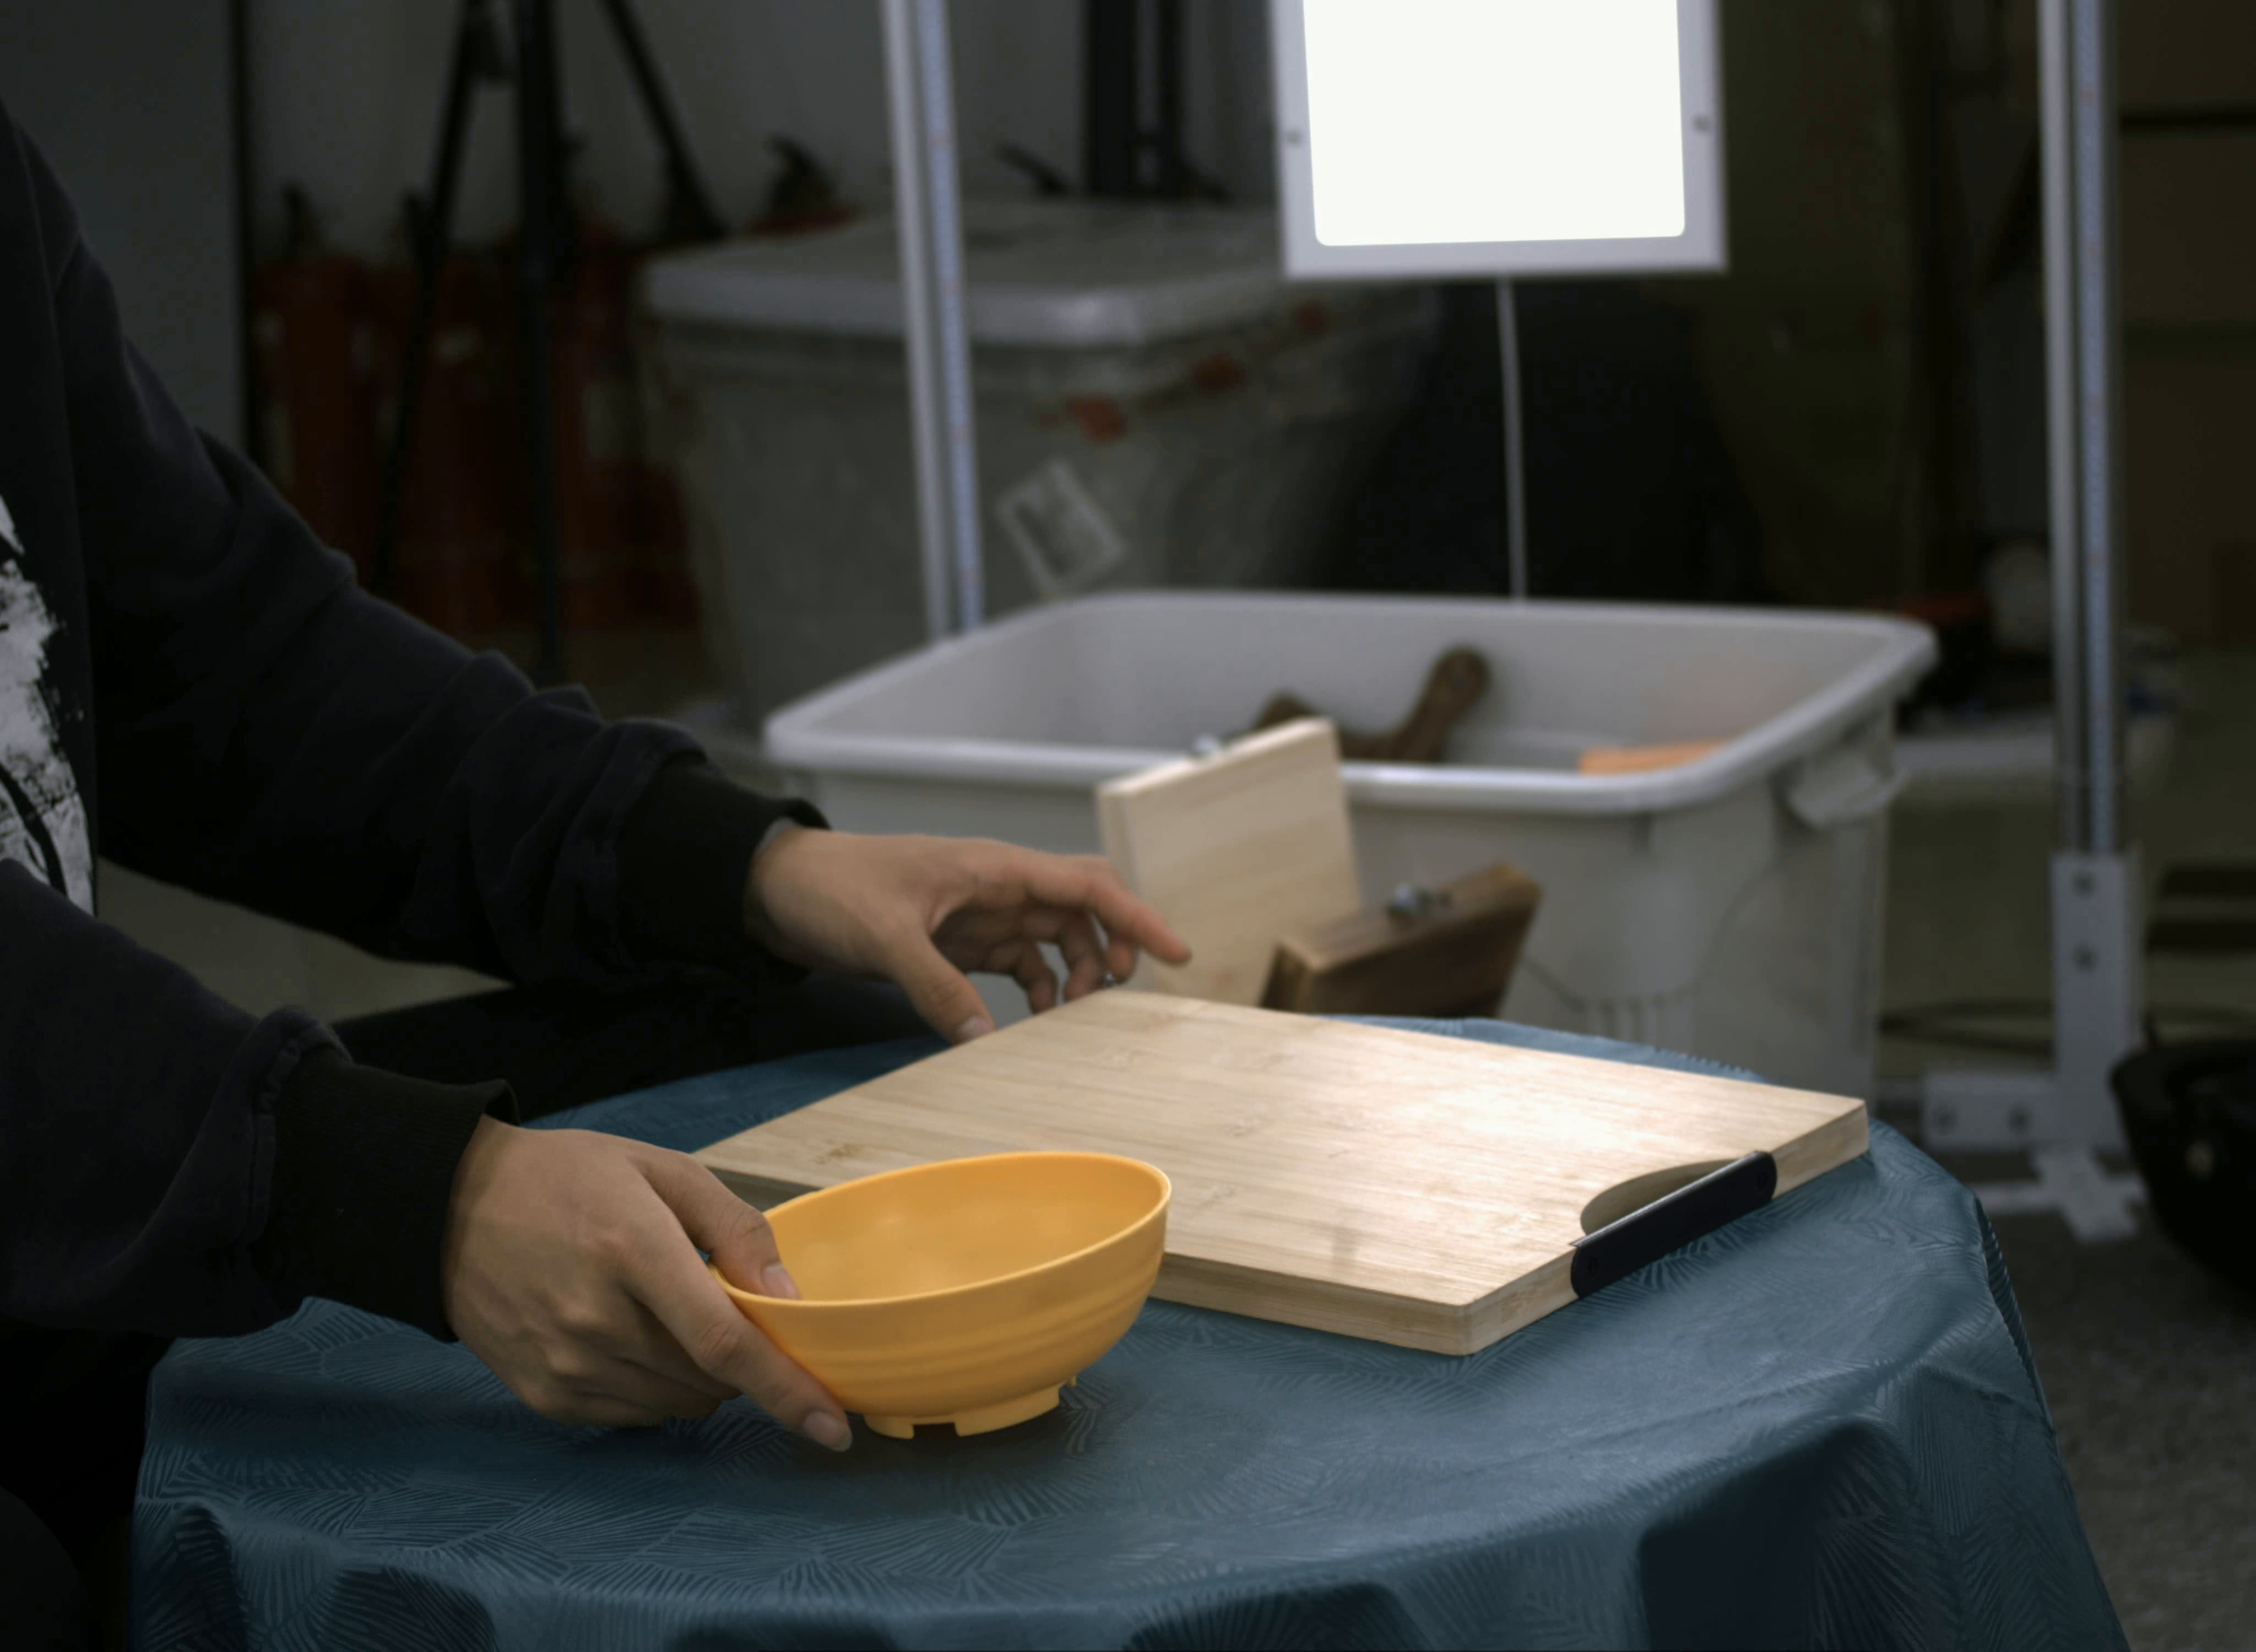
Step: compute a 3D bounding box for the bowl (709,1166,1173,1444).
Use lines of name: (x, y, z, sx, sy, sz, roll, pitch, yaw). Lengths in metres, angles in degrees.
bowl: (-0.053, 0.151, 1.688, 0.145, 0.060, 0.145, -10, 10, 0)

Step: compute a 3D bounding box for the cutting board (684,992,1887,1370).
cutting board: (0.053, 0.115, 1.893, 0.356, 0.023, 0.244, 6, 18, 39)
